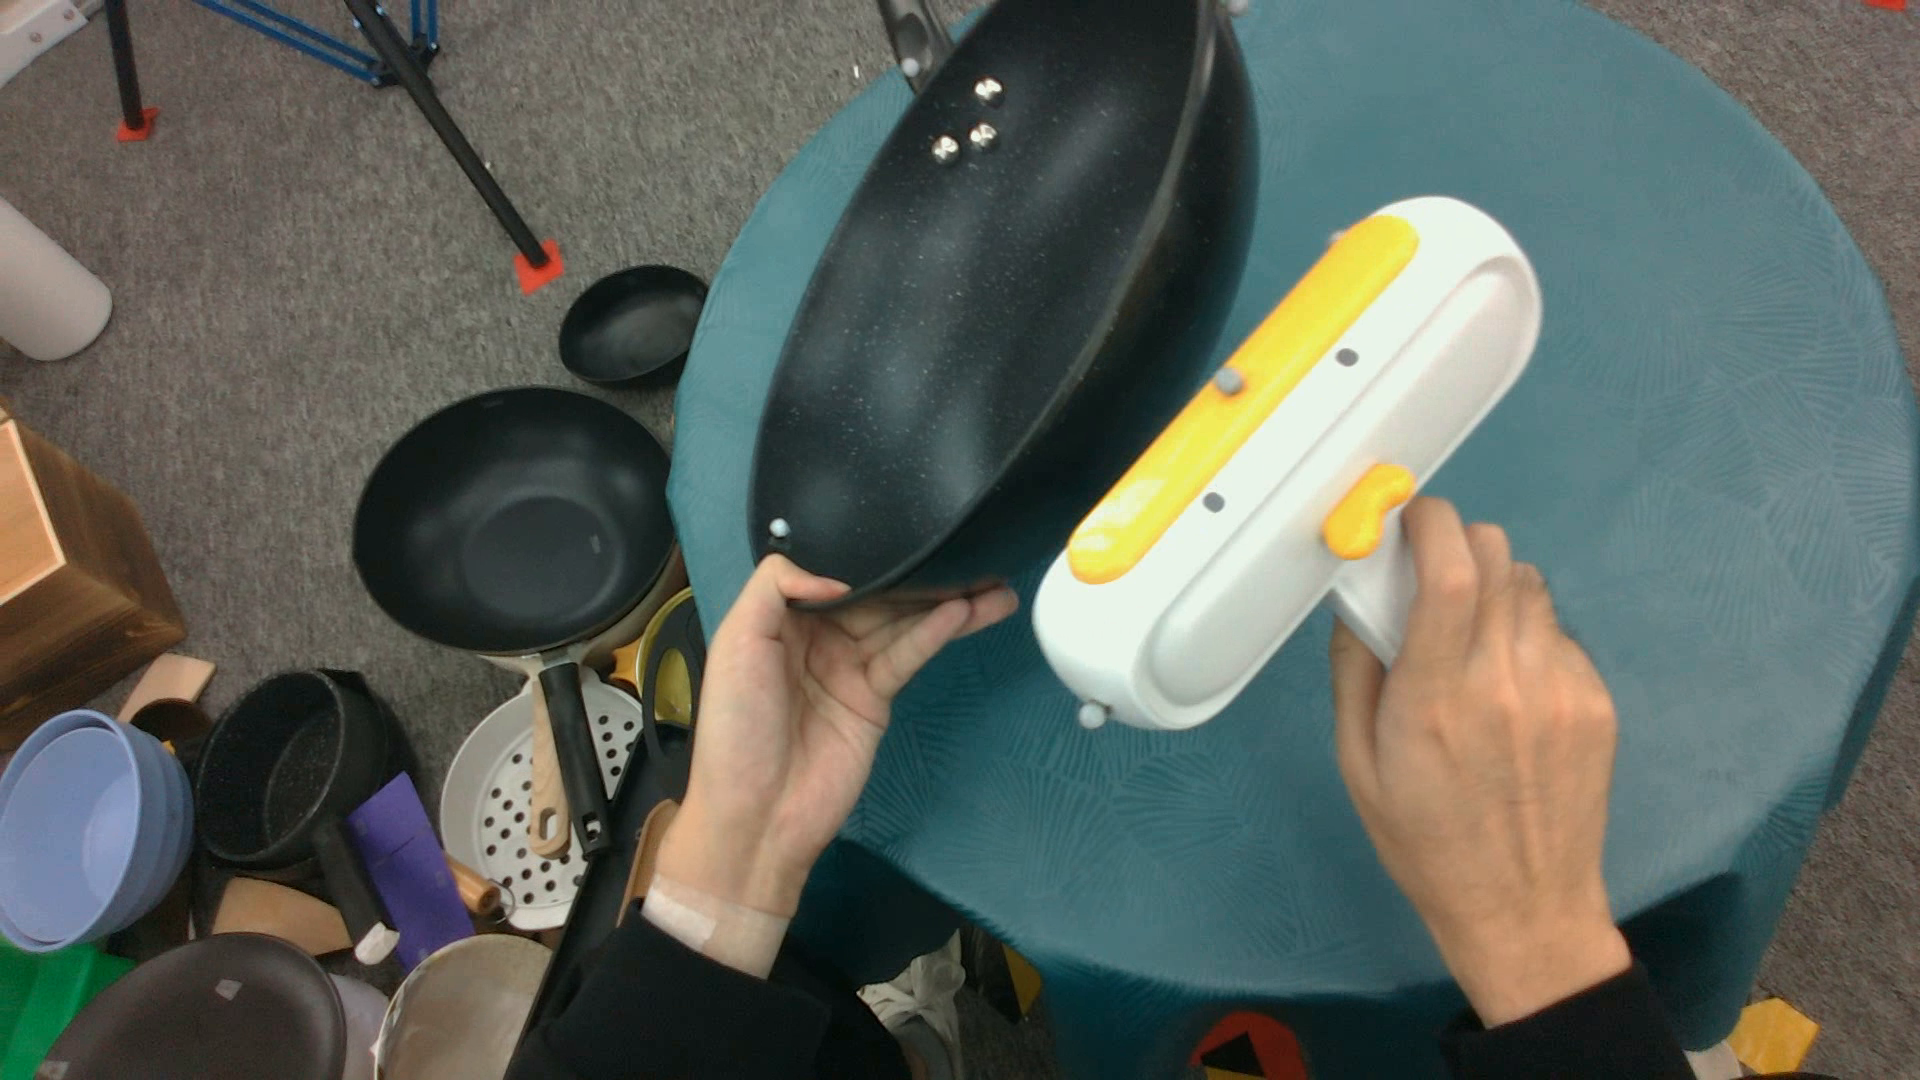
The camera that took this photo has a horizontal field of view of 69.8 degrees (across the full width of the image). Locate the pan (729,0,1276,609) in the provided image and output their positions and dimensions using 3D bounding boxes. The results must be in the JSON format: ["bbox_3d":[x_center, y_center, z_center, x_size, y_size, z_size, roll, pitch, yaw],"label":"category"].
[{"bbox_3d":[0.011,-0.163,0.634,0.309,0.111,0.479,-41,35,31],"label":"pan"}]

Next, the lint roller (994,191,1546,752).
[{"bbox_3d":[0.129,0.008,0.462,0.193,0.192,0.074,-55,33,-7],"label":"lint roller"}]
